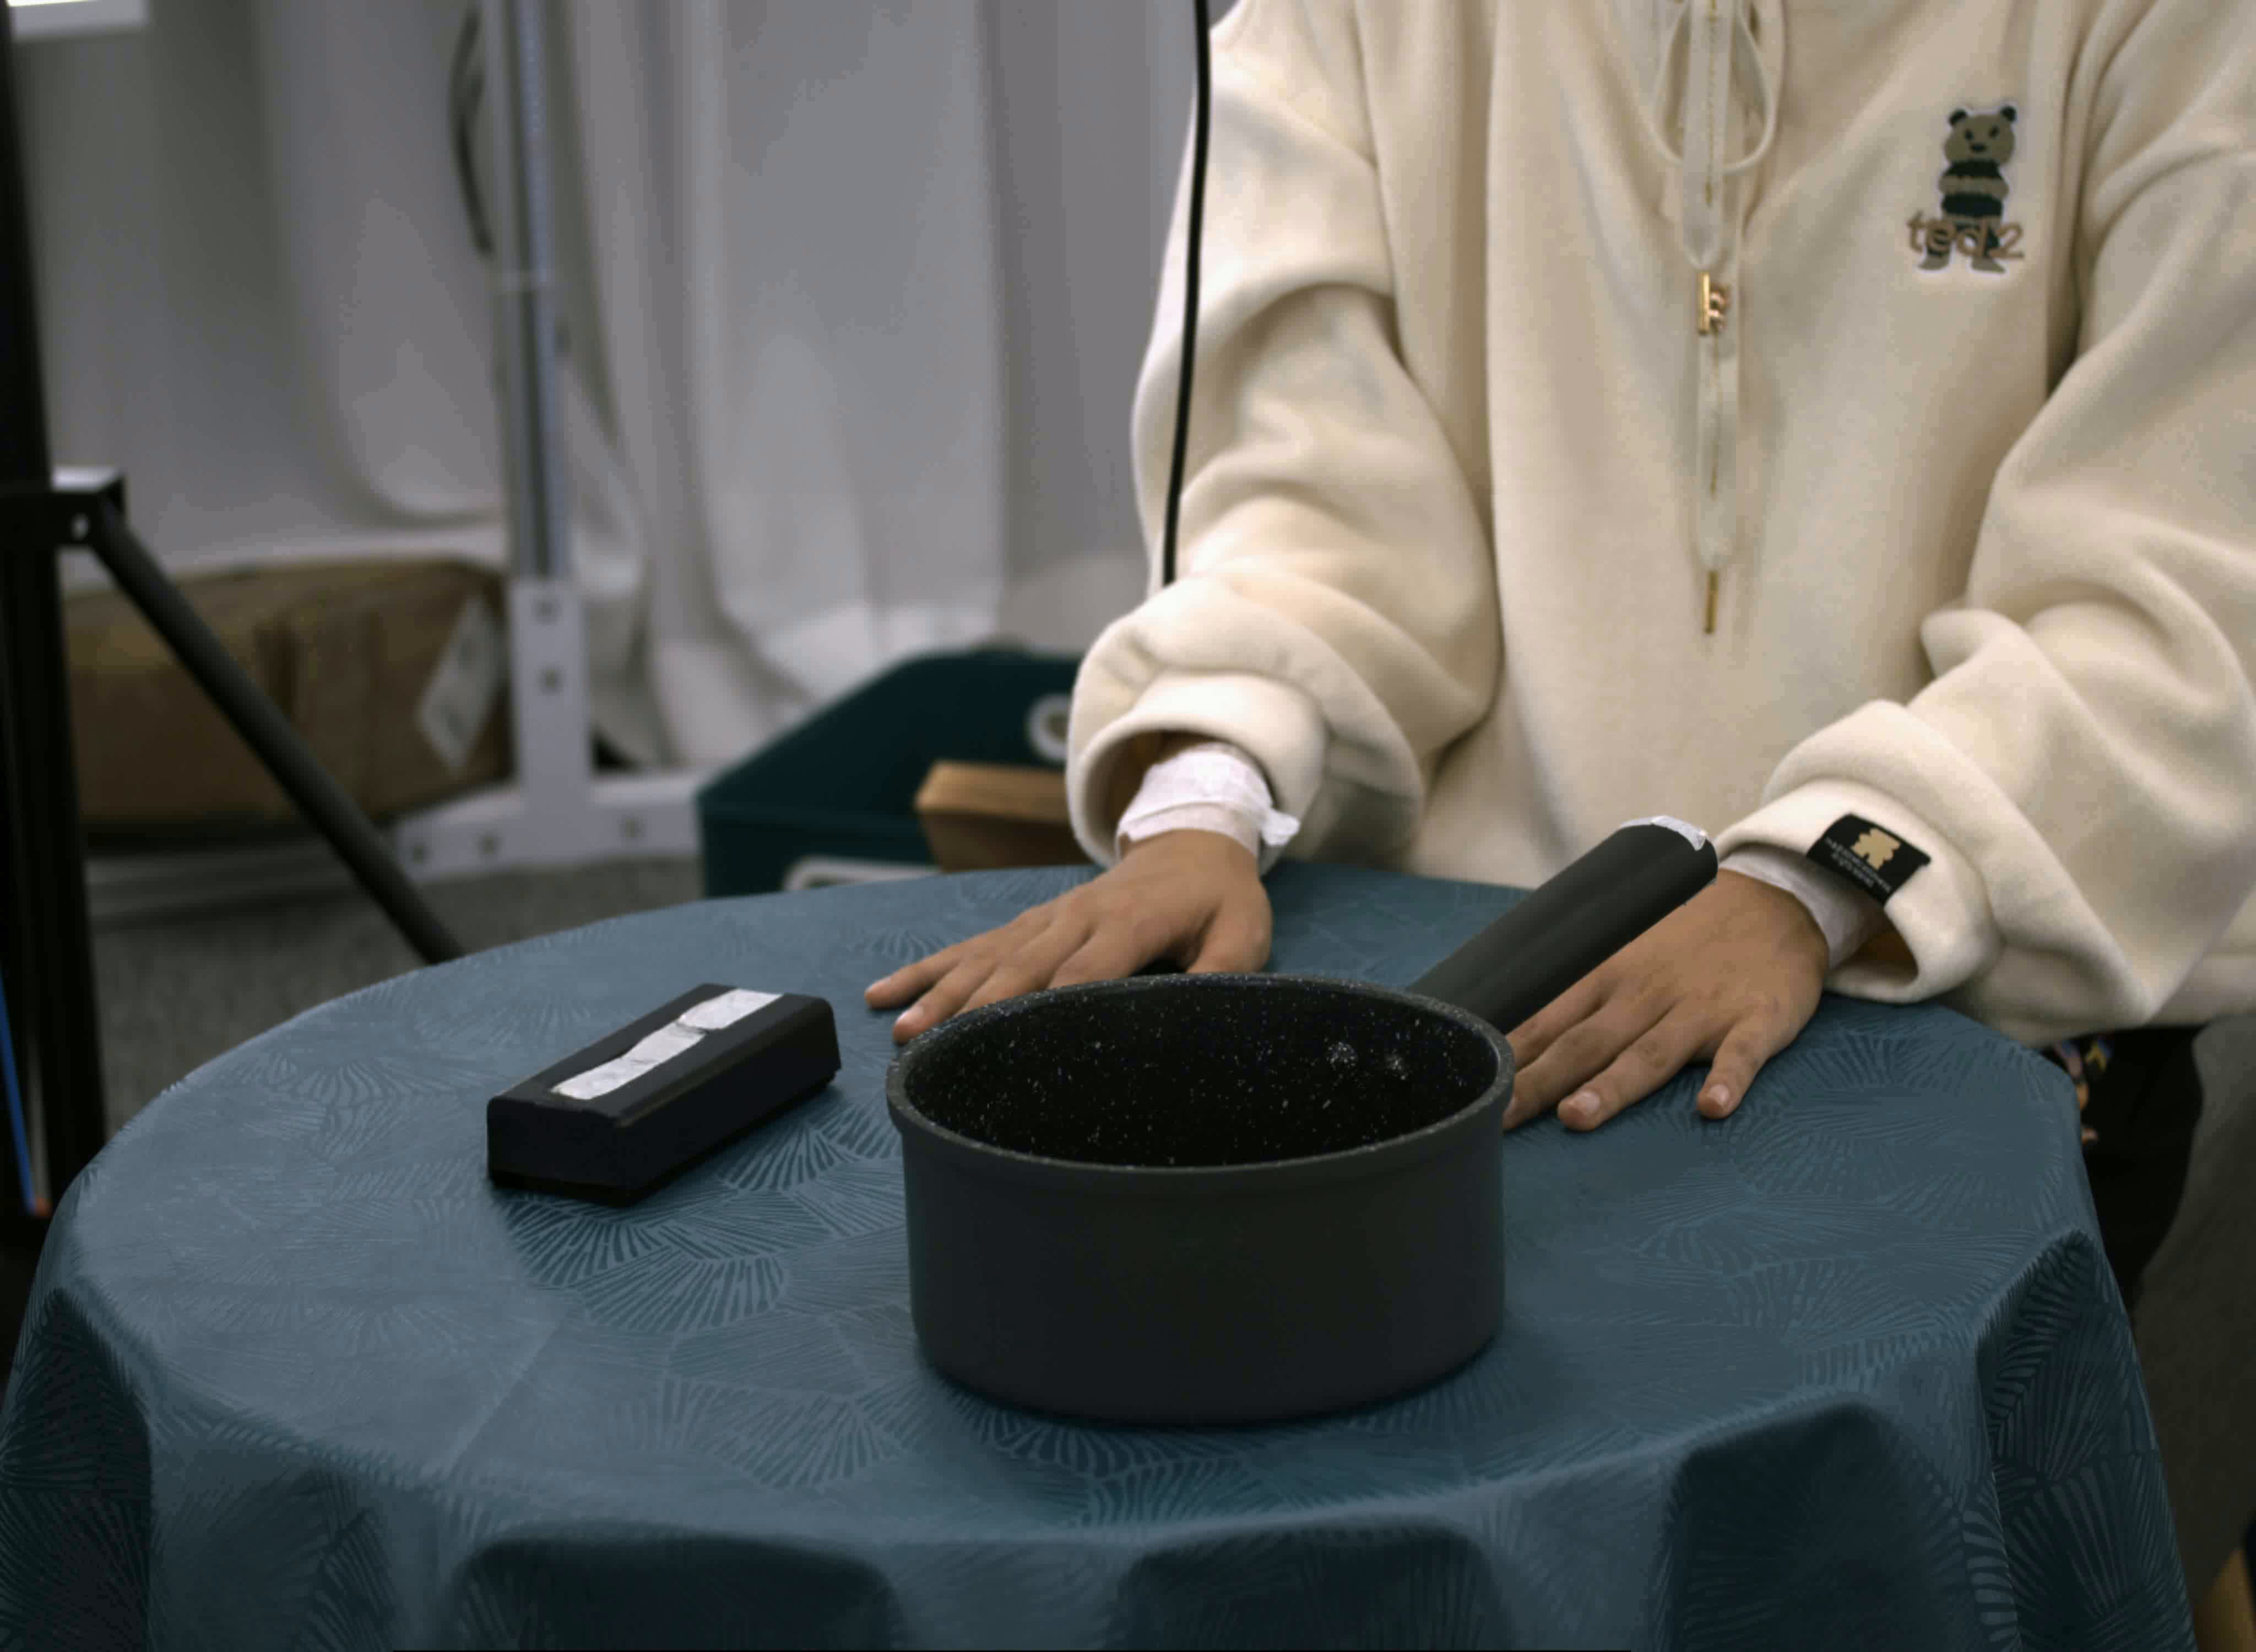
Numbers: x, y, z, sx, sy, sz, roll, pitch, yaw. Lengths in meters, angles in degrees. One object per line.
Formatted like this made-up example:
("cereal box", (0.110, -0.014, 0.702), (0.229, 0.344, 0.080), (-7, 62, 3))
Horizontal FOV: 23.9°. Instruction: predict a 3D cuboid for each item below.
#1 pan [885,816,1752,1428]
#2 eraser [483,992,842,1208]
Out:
("pan", (0.071, 0.079, 1.494), (0.176, 0.086, 0.322), (11, 22, 40))
("eraser", (-0.140, 0.083, 1.622), (0.054, 0.030, 0.123), (7, 17, 28))
